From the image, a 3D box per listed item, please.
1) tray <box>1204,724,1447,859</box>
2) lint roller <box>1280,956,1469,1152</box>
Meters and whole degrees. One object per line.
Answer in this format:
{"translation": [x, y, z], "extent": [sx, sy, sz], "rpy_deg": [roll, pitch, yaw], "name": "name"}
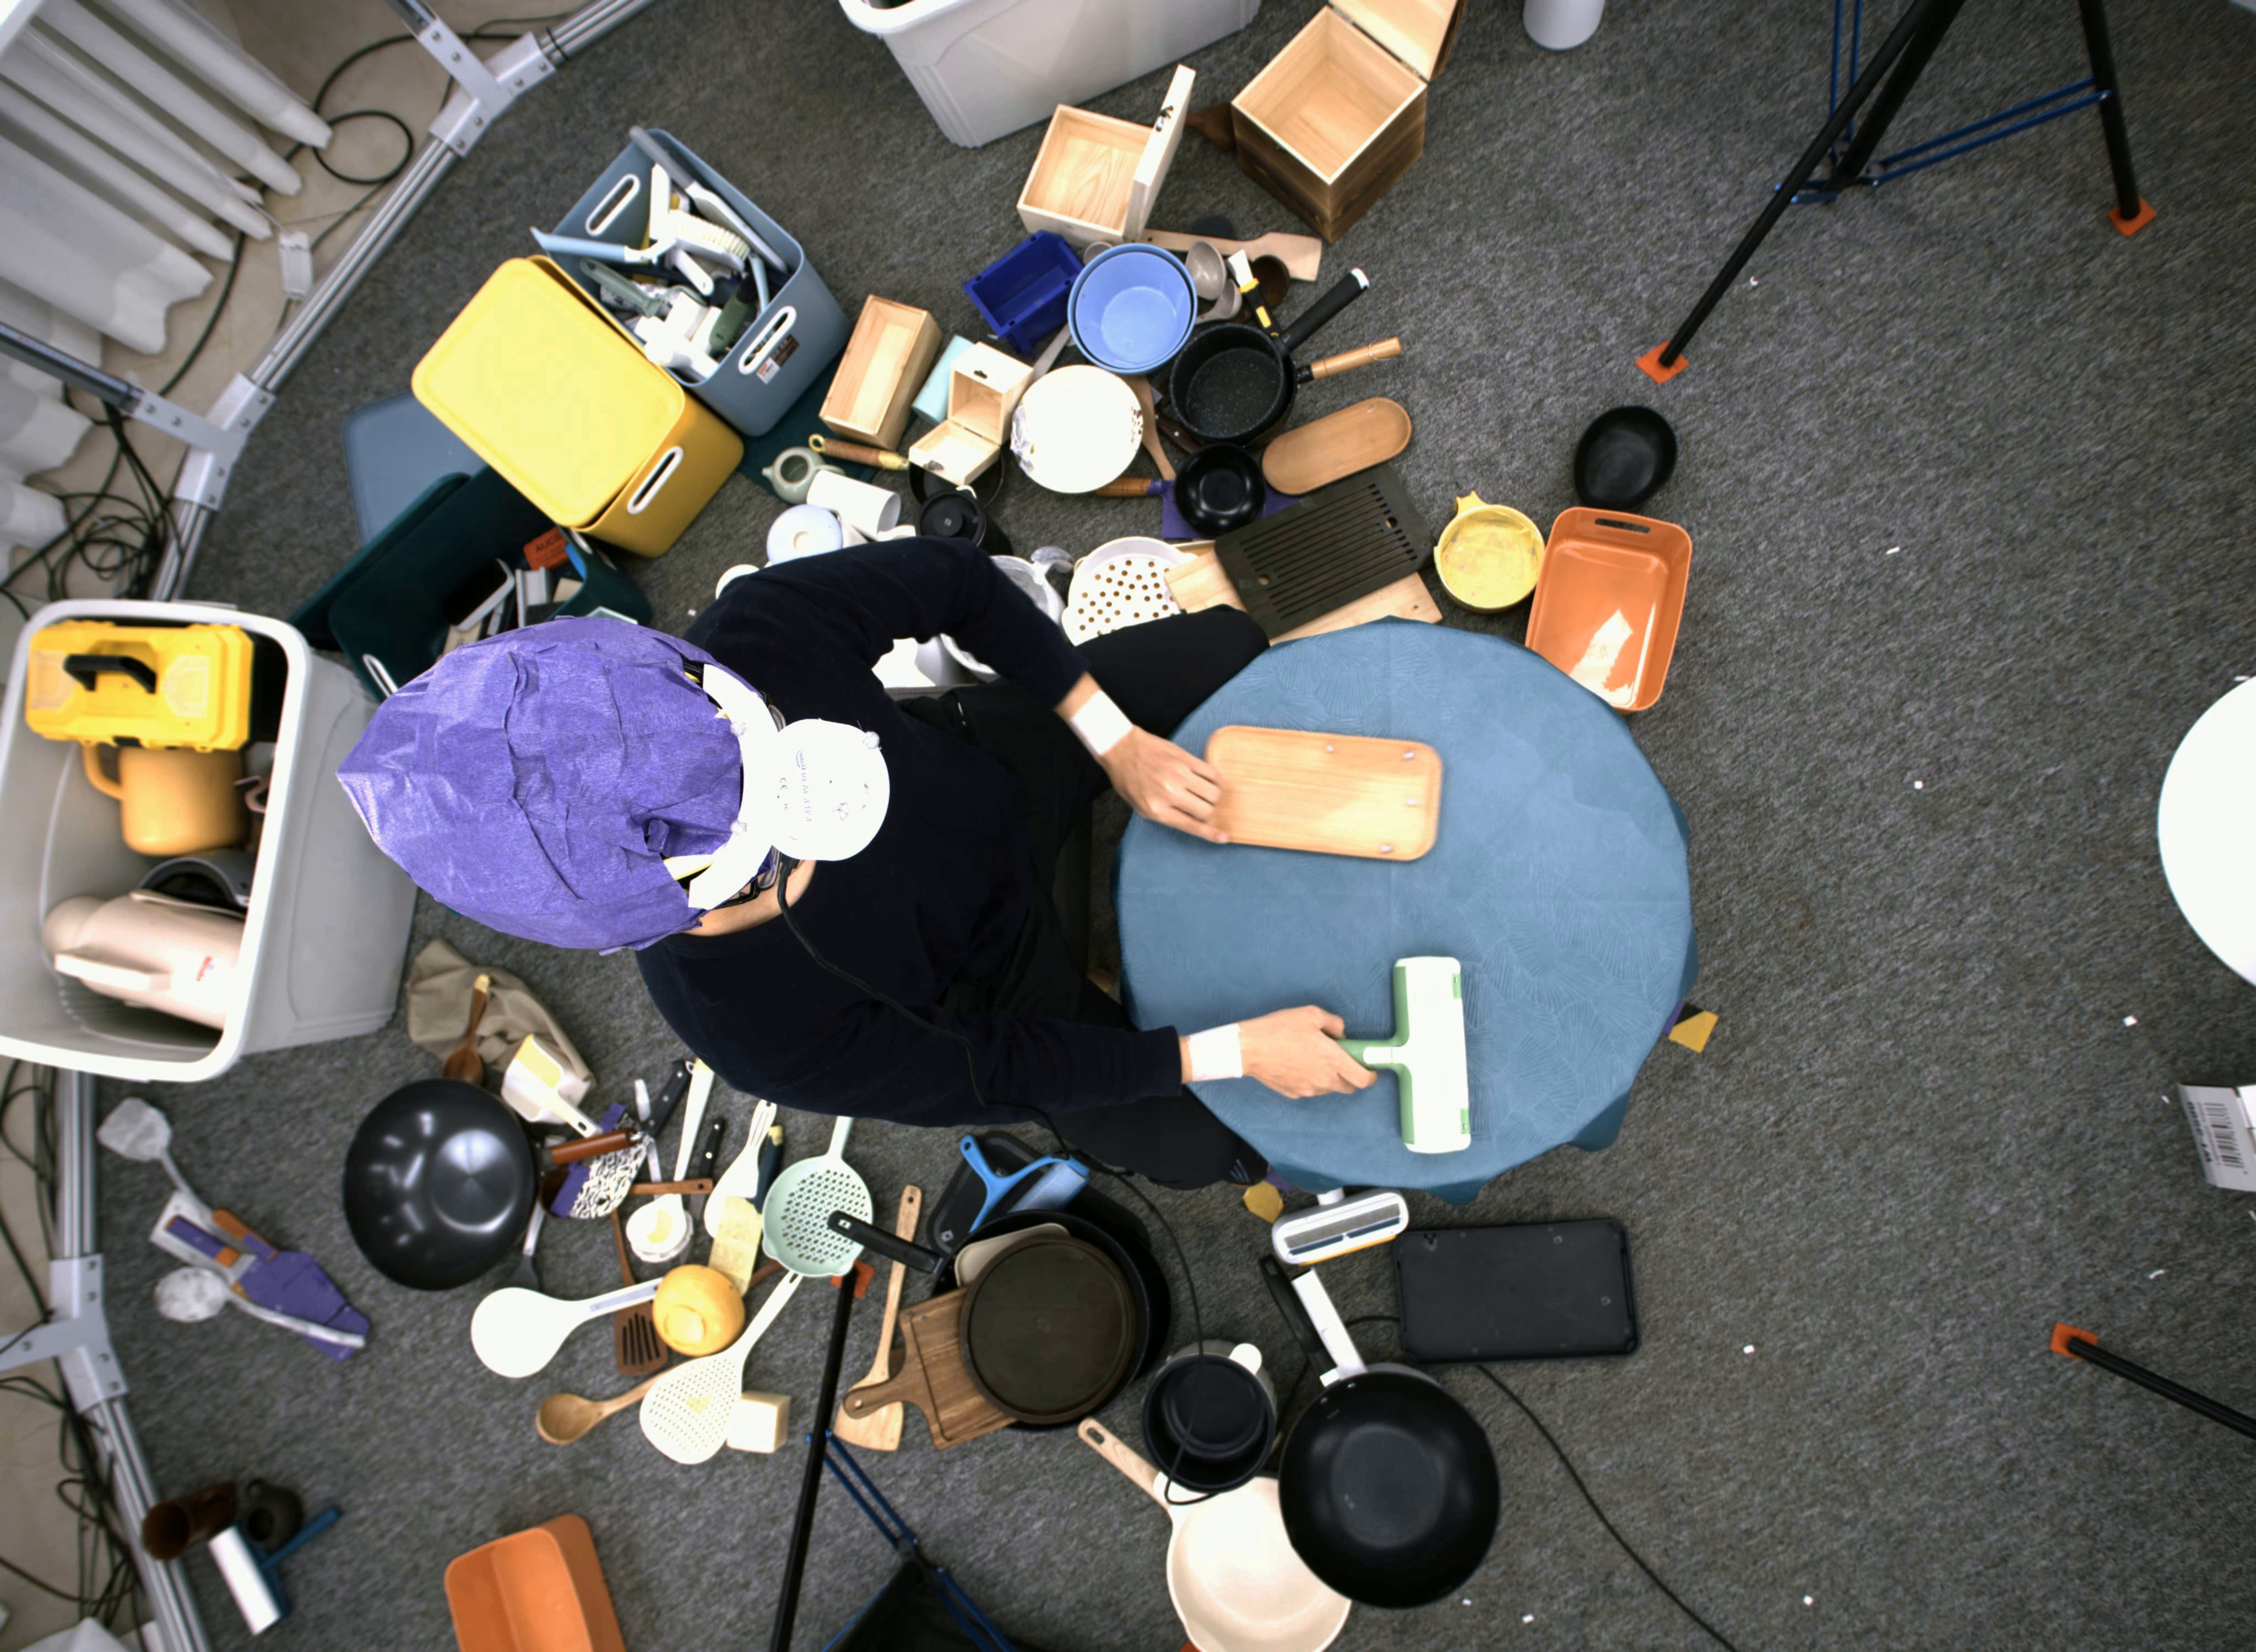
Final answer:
{"translation": [0.209, -0.037, 1.467], "extent": [0.251, 0.023, 0.130], "rpy_deg": [5, 86, 11], "name": "tray"}
{"translation": [0.250, 0.232, 1.404], "extent": [0.183, 0.082, 0.197], "rpy_deg": [-3, 85, -2], "name": "lint roller"}
